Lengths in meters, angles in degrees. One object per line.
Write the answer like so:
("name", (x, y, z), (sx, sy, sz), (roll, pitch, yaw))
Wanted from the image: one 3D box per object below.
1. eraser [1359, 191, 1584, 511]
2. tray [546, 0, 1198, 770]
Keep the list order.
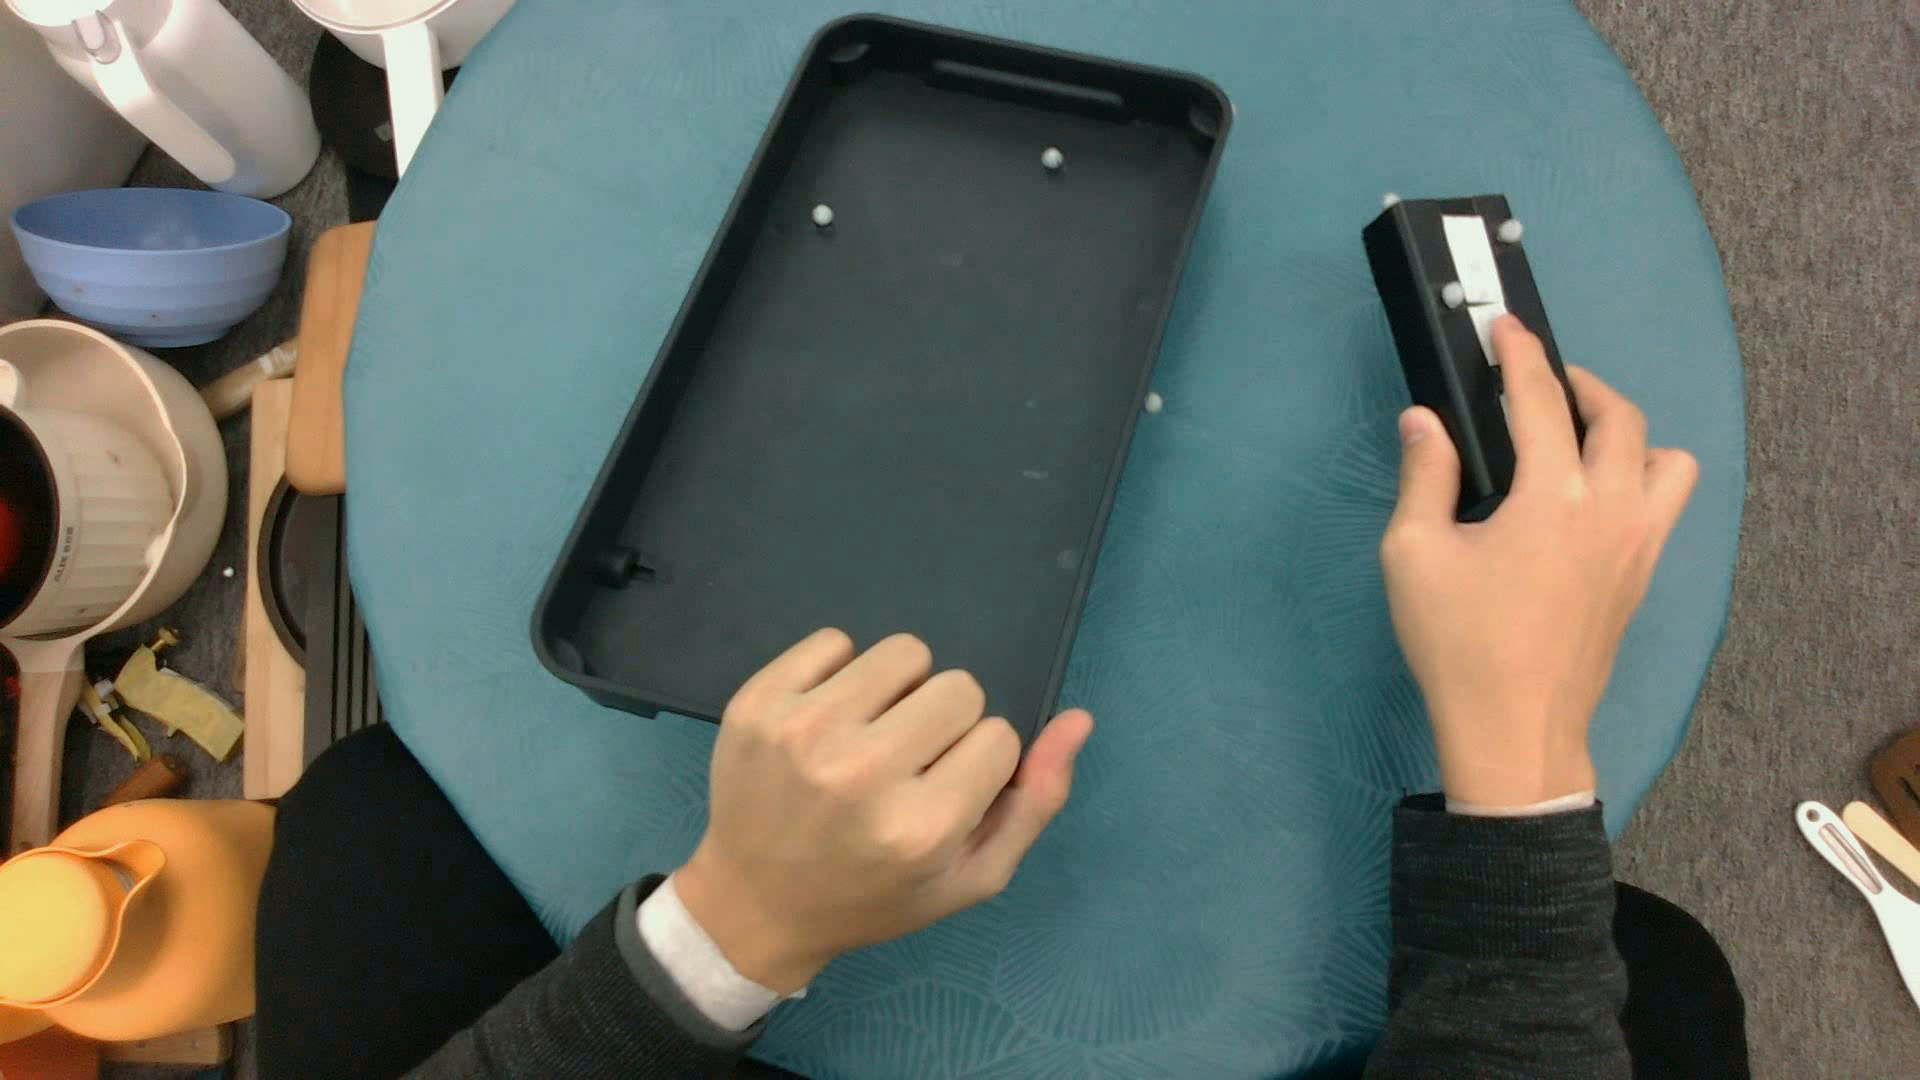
("eraser", (0.197, -0.075, 0.538), (0.053, 0.030, 0.126), (-7, 73, -12))
("tray", (-0.022, -0.078, 0.535), (0.184, 0.037, 0.319), (10, 66, 11))
